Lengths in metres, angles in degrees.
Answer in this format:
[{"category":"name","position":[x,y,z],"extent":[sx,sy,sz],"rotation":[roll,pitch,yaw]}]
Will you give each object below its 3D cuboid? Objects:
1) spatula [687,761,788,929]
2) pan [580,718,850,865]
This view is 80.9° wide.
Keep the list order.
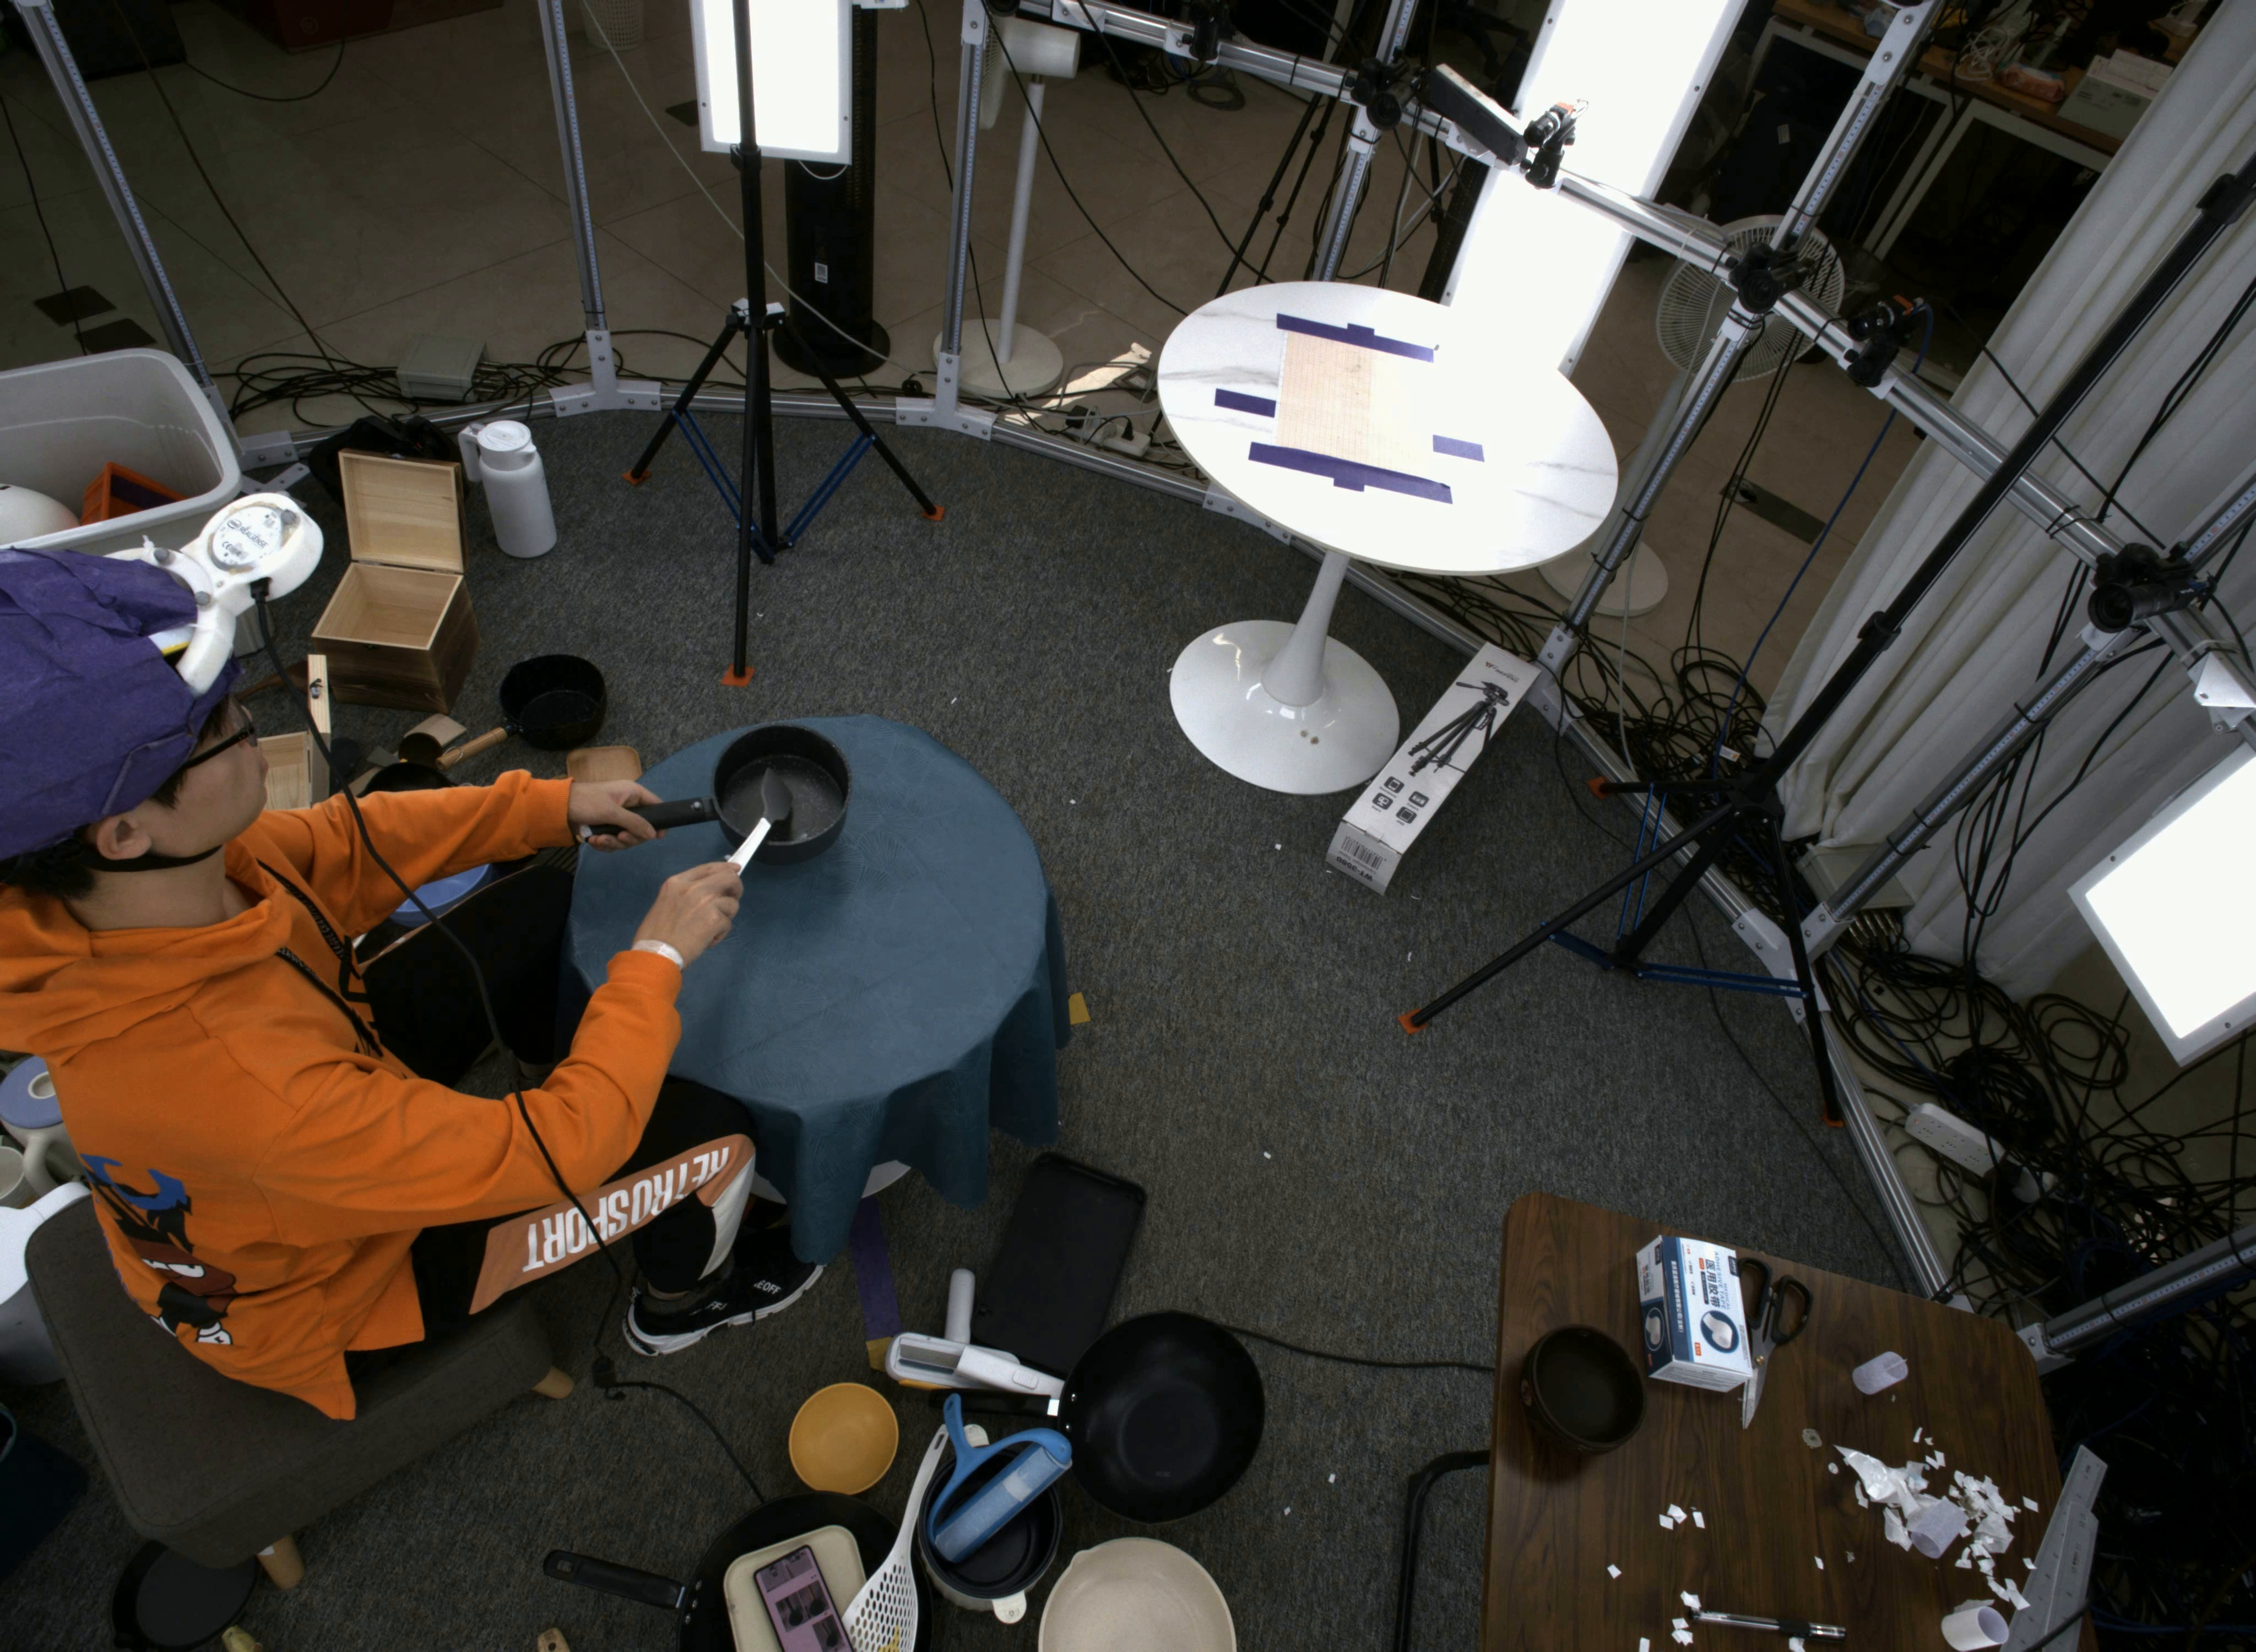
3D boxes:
[{"category":"spatula","position":[-0.451,0.015,1.514],"extent":[0.060,0.032,0.282],"rotation":[51,26,-26]},{"category":"pan","position":[-0.506,-0.025,1.582],"extent":[0.330,0.087,0.169],"rotation":[-12,68,-23]}]
